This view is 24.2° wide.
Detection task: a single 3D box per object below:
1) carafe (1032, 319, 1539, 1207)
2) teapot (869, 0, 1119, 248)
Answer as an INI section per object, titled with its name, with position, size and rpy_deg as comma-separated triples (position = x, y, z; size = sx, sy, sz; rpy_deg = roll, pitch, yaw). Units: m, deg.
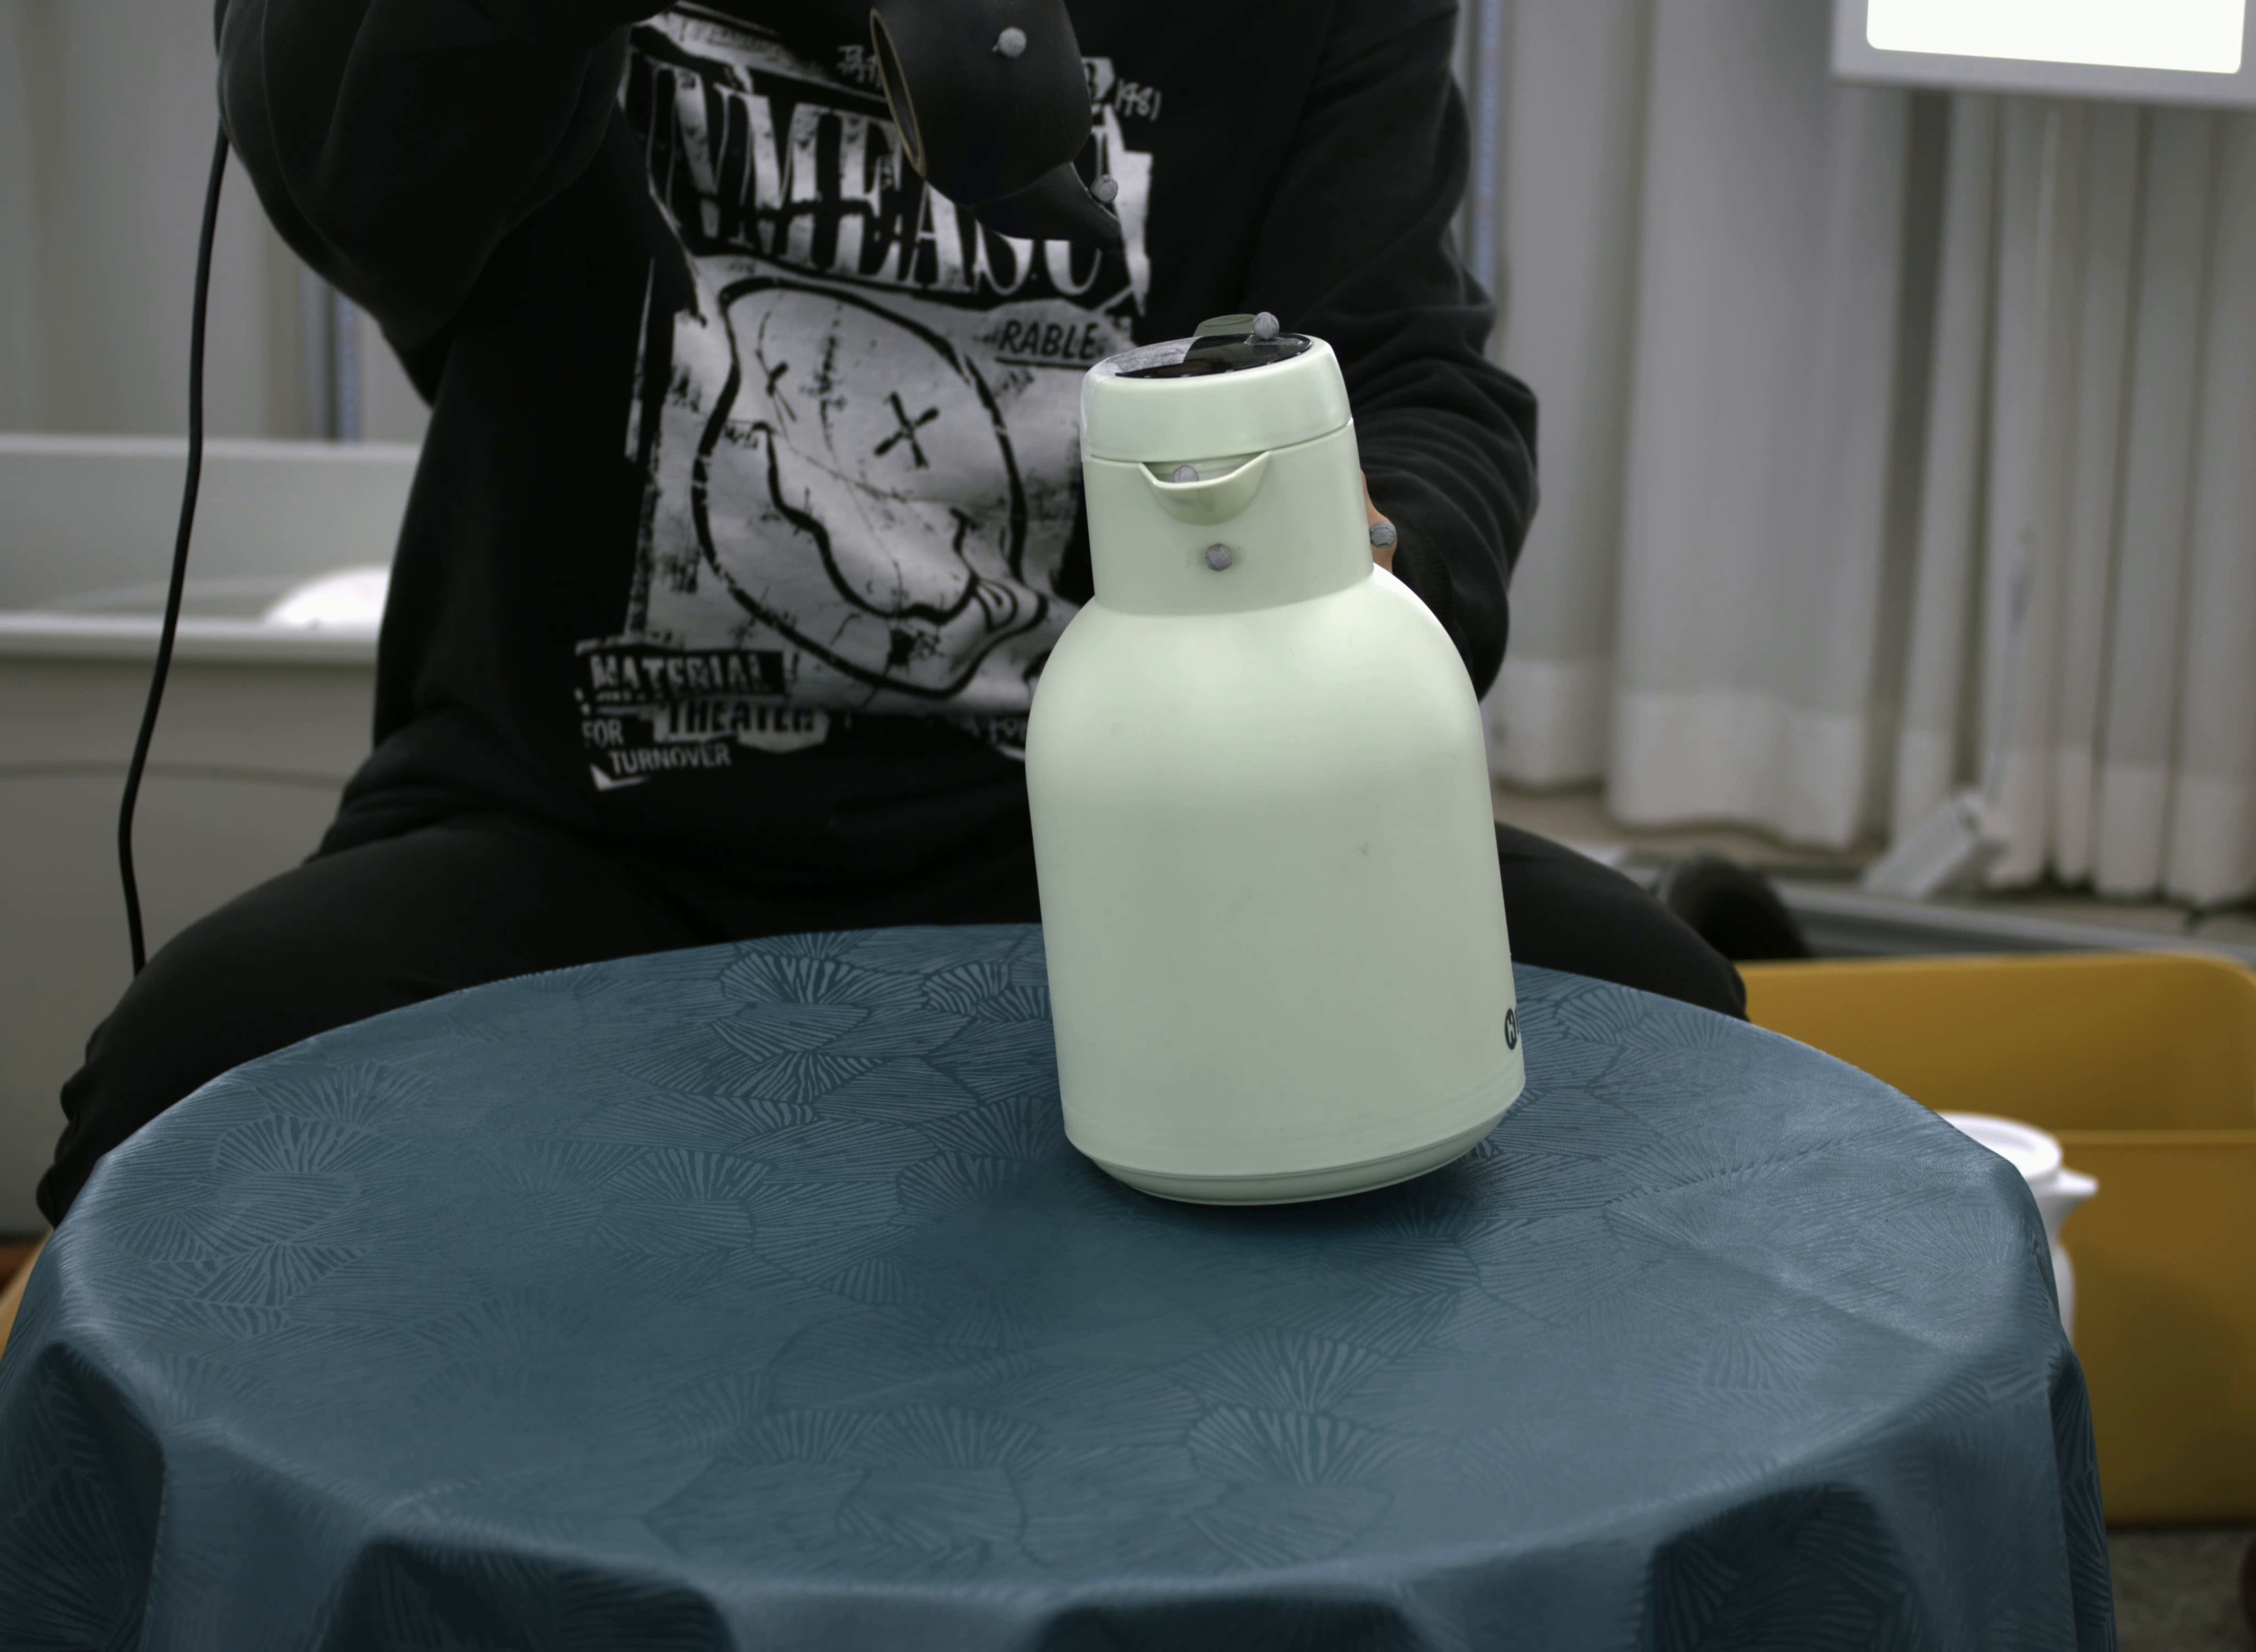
[carafe]
position = 0.042, -0.025, 1.627
size = 0.143, 0.258, 0.186
rpy_deg = -7, 12, 8
[teapot]
position = -0.046, -0.231, 1.578
size = 0.053, 0.133, 0.091
rpy_deg = -17, -2, -8
